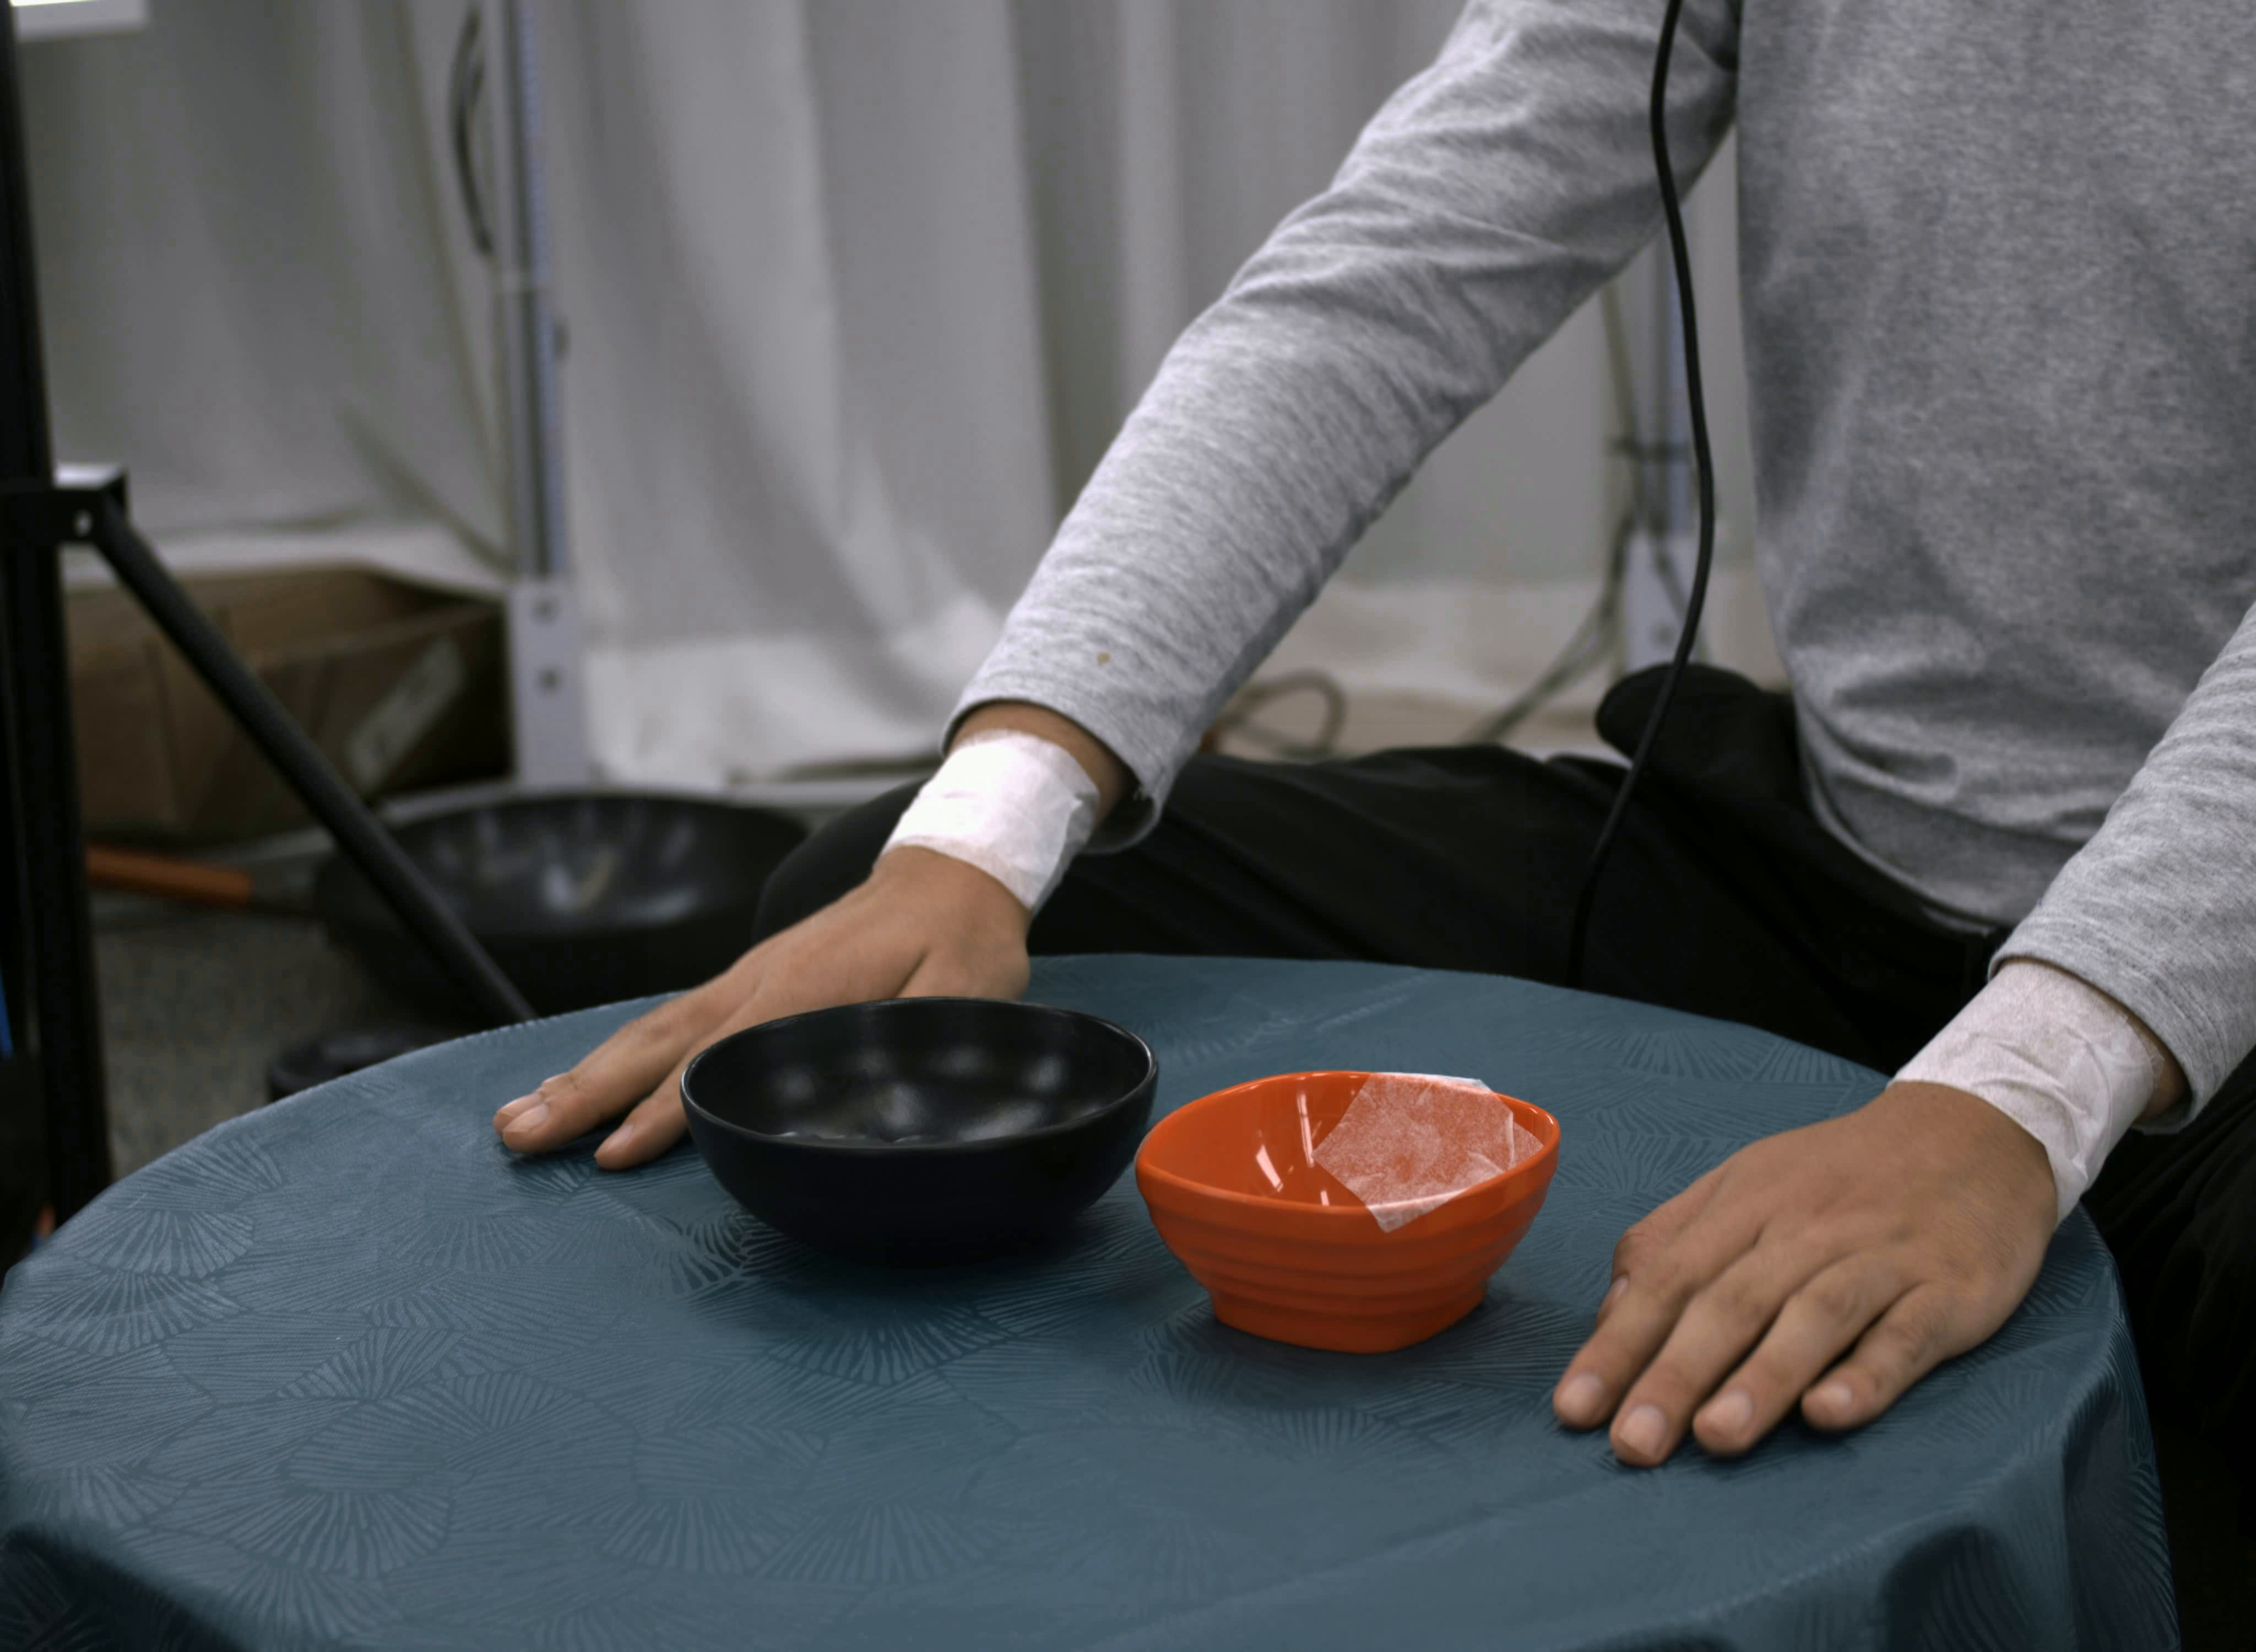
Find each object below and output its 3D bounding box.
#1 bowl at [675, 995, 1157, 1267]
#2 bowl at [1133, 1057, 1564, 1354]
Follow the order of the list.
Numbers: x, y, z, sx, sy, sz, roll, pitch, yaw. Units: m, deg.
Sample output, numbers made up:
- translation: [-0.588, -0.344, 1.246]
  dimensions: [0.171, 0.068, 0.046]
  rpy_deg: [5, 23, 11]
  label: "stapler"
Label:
- translation: [-0.060, 0.093, 1.537]
  dimensions: [0.139, 0.050, 0.141]
  rpy_deg: [-1, 16, -1]
  label: "bowl"
- translation: [0.062, 0.107, 1.453]
  dimensions: [0.118, 0.051, 0.119]
  rpy_deg: [-6, 18, 0]
  label: "bowl"
